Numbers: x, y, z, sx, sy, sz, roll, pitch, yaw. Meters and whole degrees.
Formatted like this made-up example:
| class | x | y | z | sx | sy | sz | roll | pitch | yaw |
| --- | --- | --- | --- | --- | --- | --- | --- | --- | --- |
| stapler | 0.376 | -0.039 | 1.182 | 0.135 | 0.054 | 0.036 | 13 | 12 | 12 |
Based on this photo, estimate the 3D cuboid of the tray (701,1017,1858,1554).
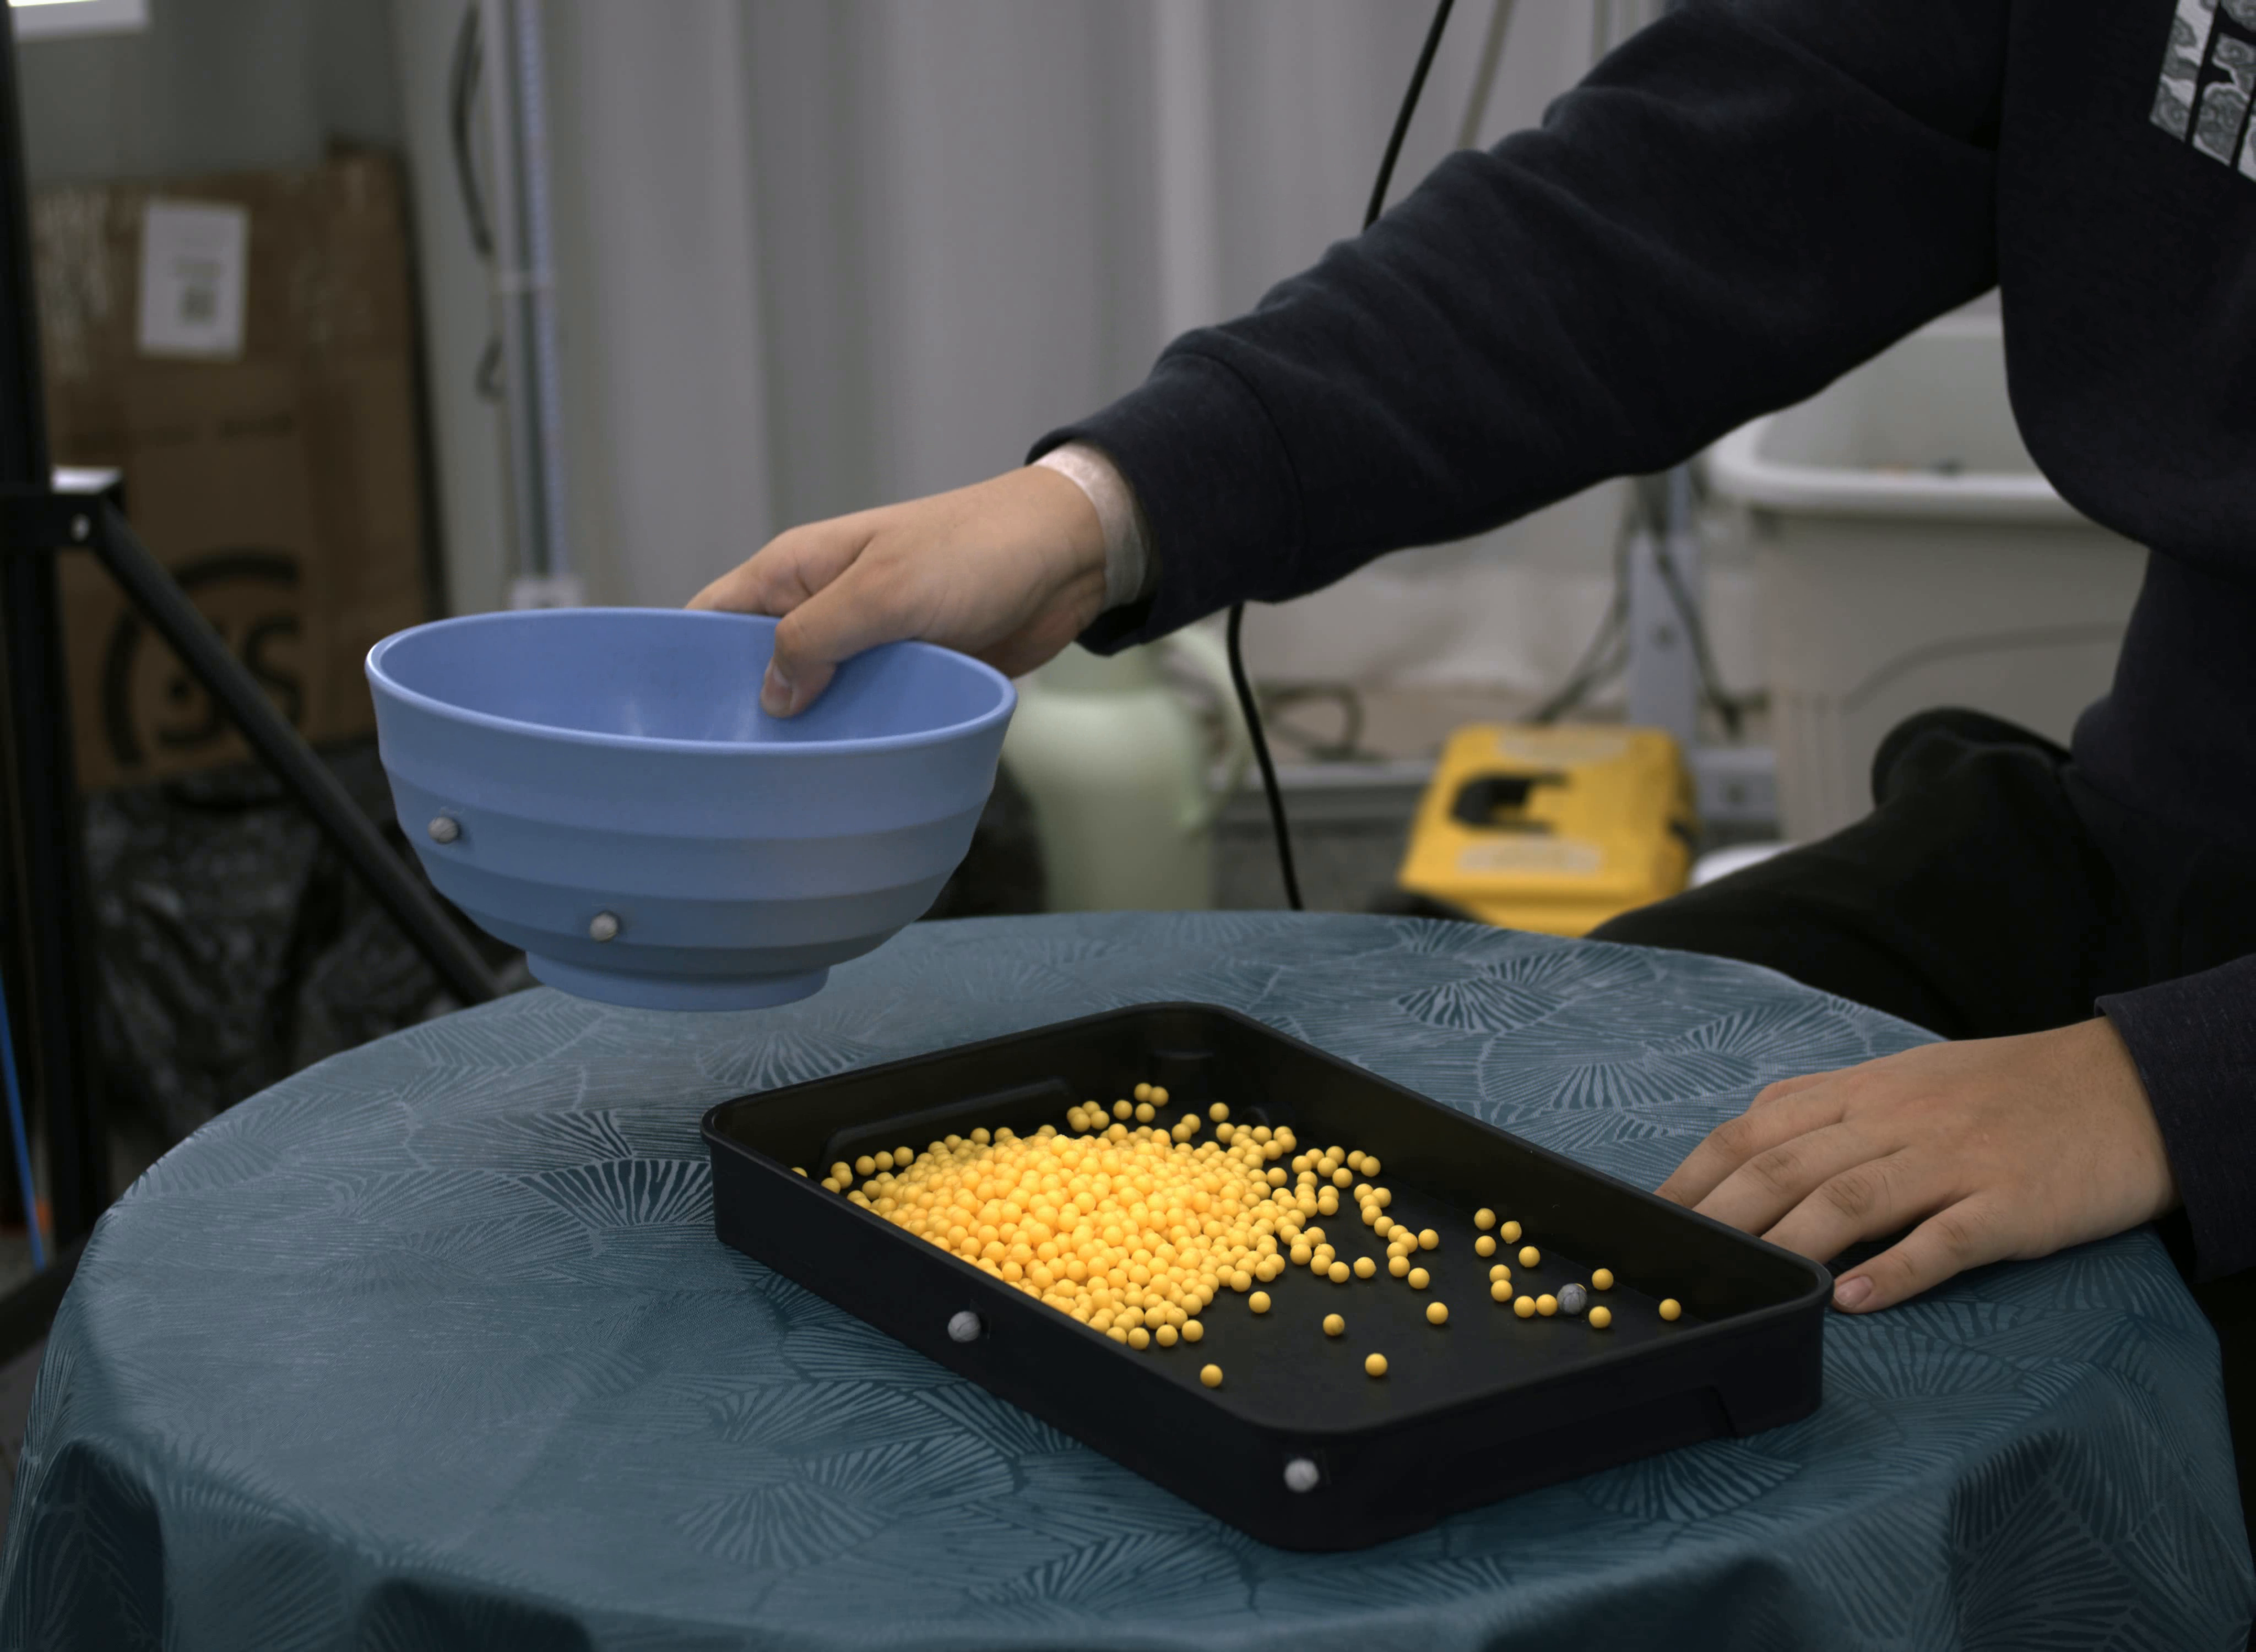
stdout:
| class | x | y | z | sx | sy | sz | roll | pitch | yaw |
| --- | --- | --- | --- | --- | --- | --- | --- | --- | --- |
| tray | 0.034 | 0.119 | 1.453 | 0.180 | 0.037 | 0.325 | -12 | 17 | -32 |

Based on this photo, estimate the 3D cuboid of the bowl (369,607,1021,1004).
| class | x | y | z | sx | sy | sz | roll | pitch | yaw |
| --- | --- | --- | --- | --- | --- | --- | --- | --- | --- |
| bowl | -0.132 | -0.003 | 1.612 | 0.195 | 0.095 | 0.197 | 2 | 12 | -2 |
